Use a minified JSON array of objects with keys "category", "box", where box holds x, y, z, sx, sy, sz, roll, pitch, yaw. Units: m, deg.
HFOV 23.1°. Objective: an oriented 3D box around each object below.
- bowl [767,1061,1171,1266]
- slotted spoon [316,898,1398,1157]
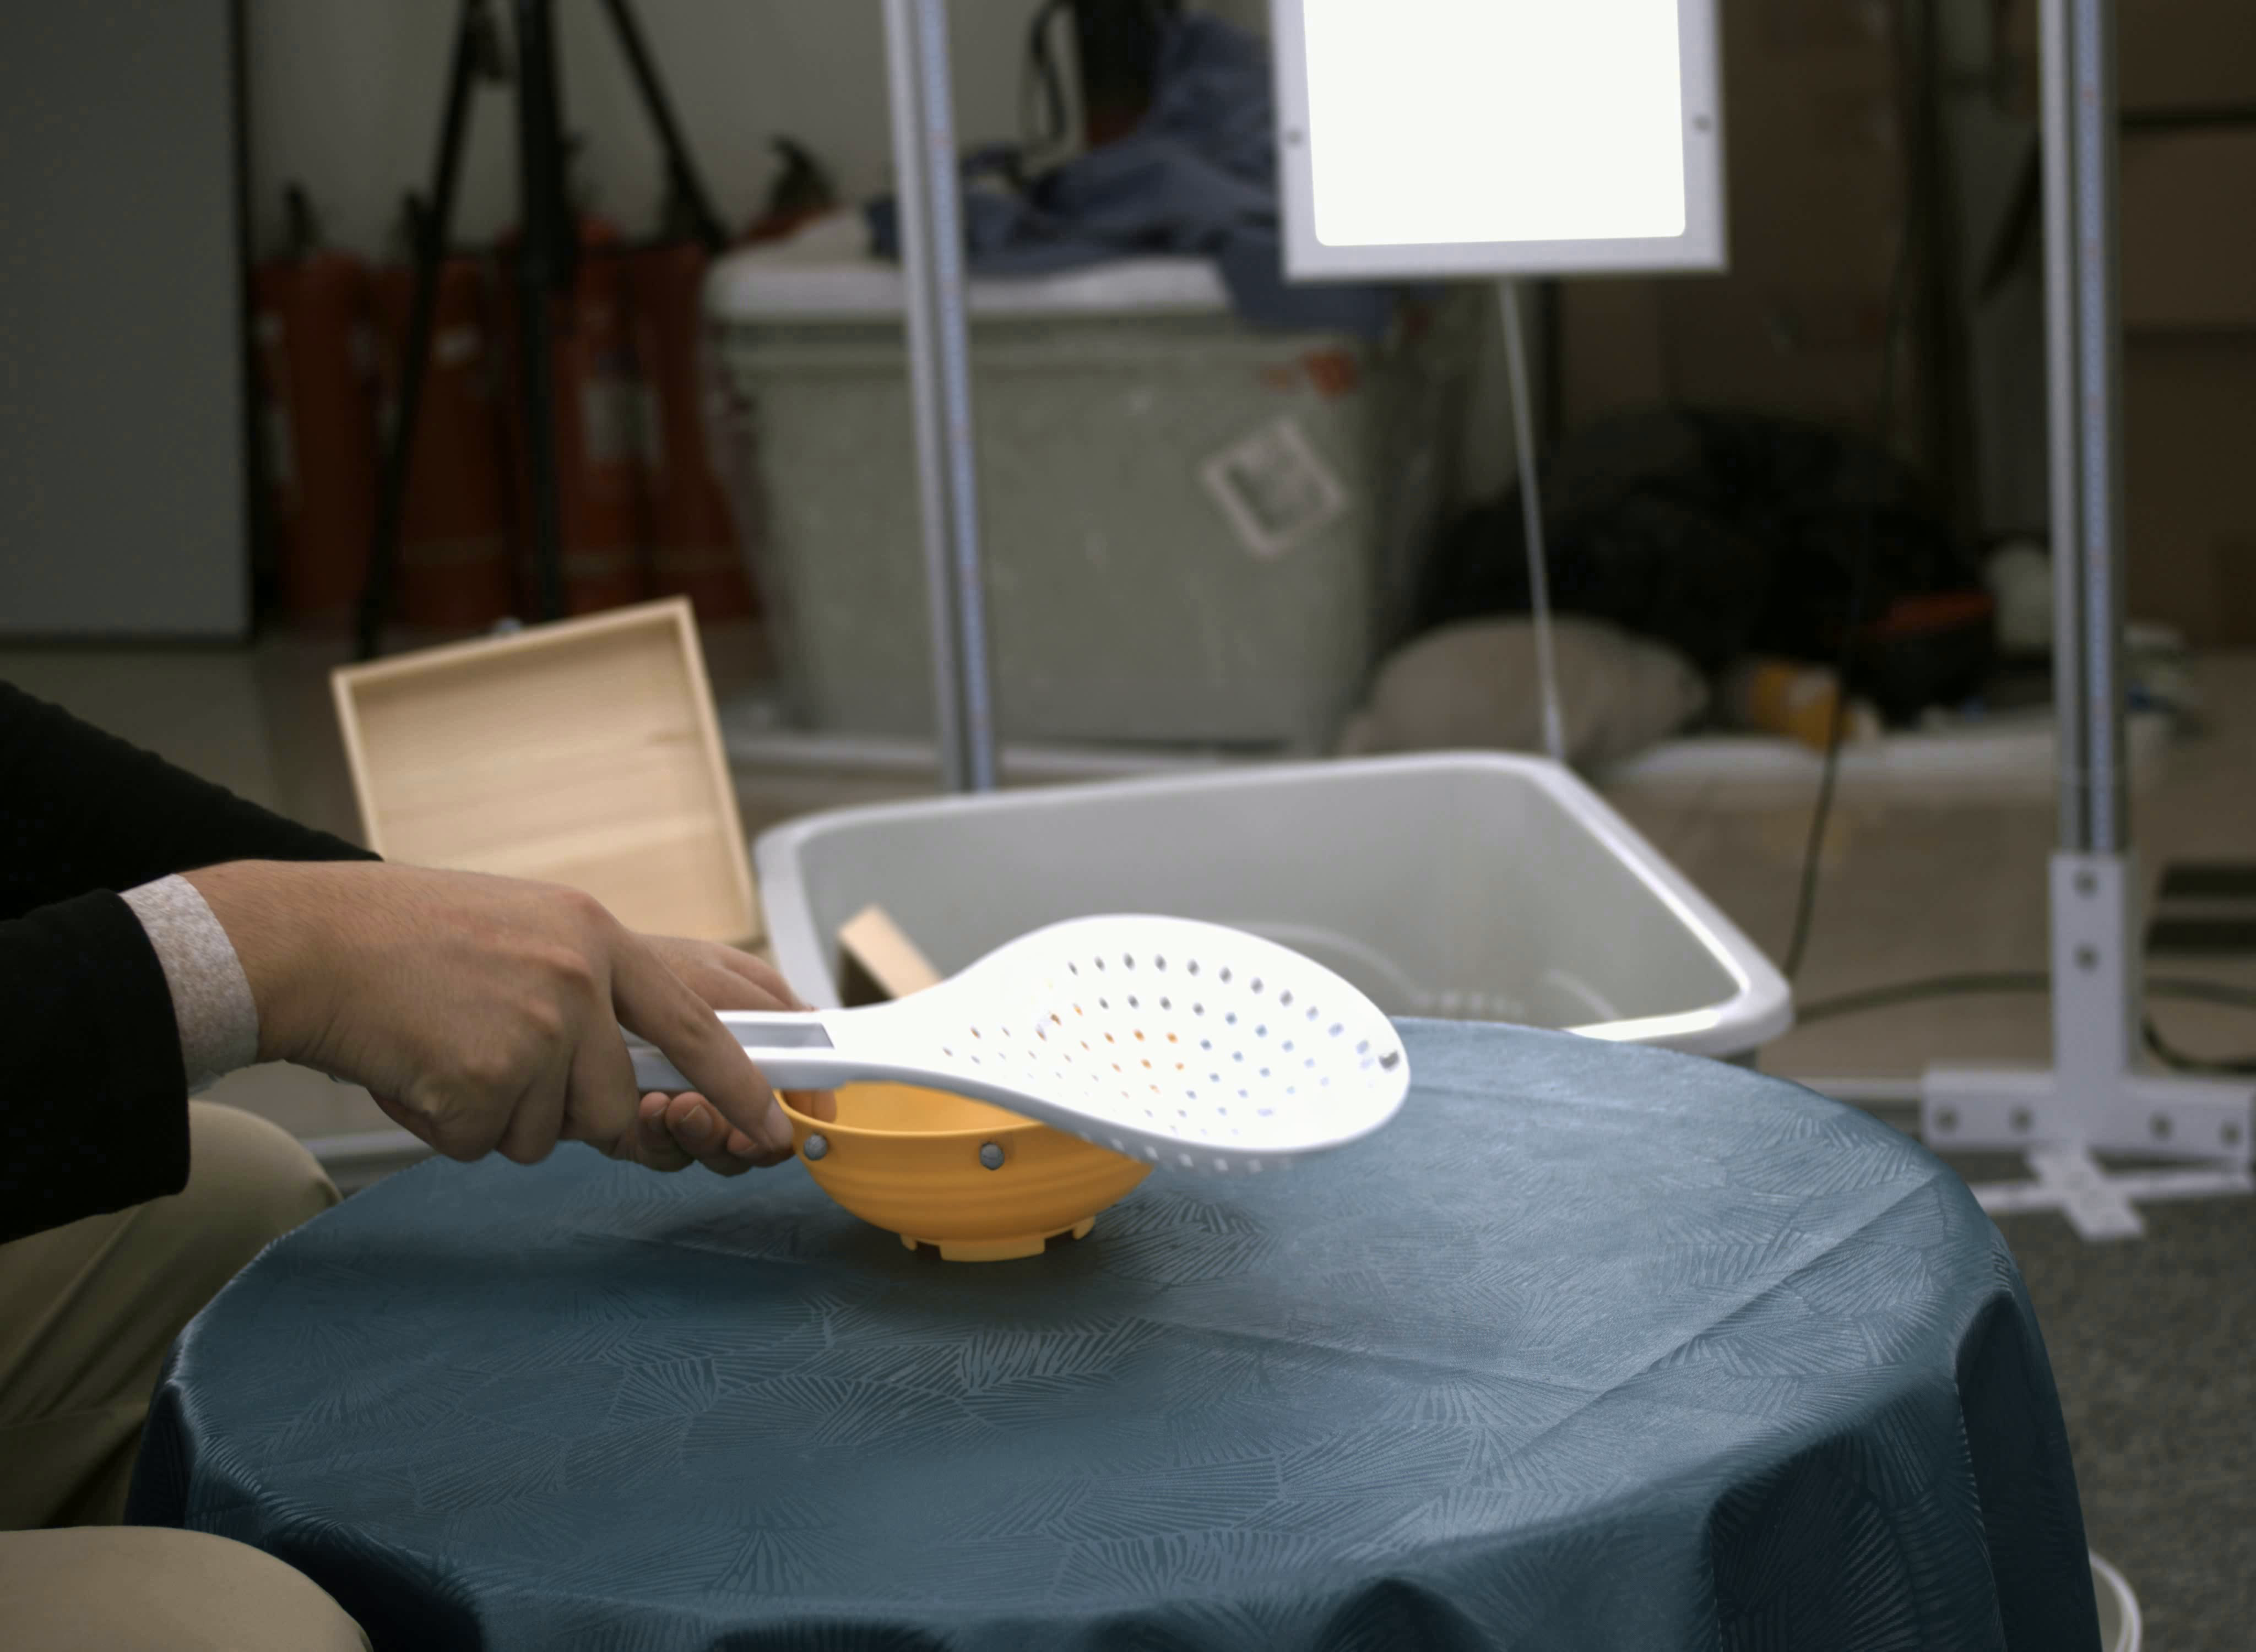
[{"category":"bowl","box":[-0.048,0.111,1.861,0.145,0.060,0.145,-4,13,0]},{"category":"slotted spoon","box":[-0.080,0.065,1.709,0.343,0.046,0.137,4,29,-24]}]
